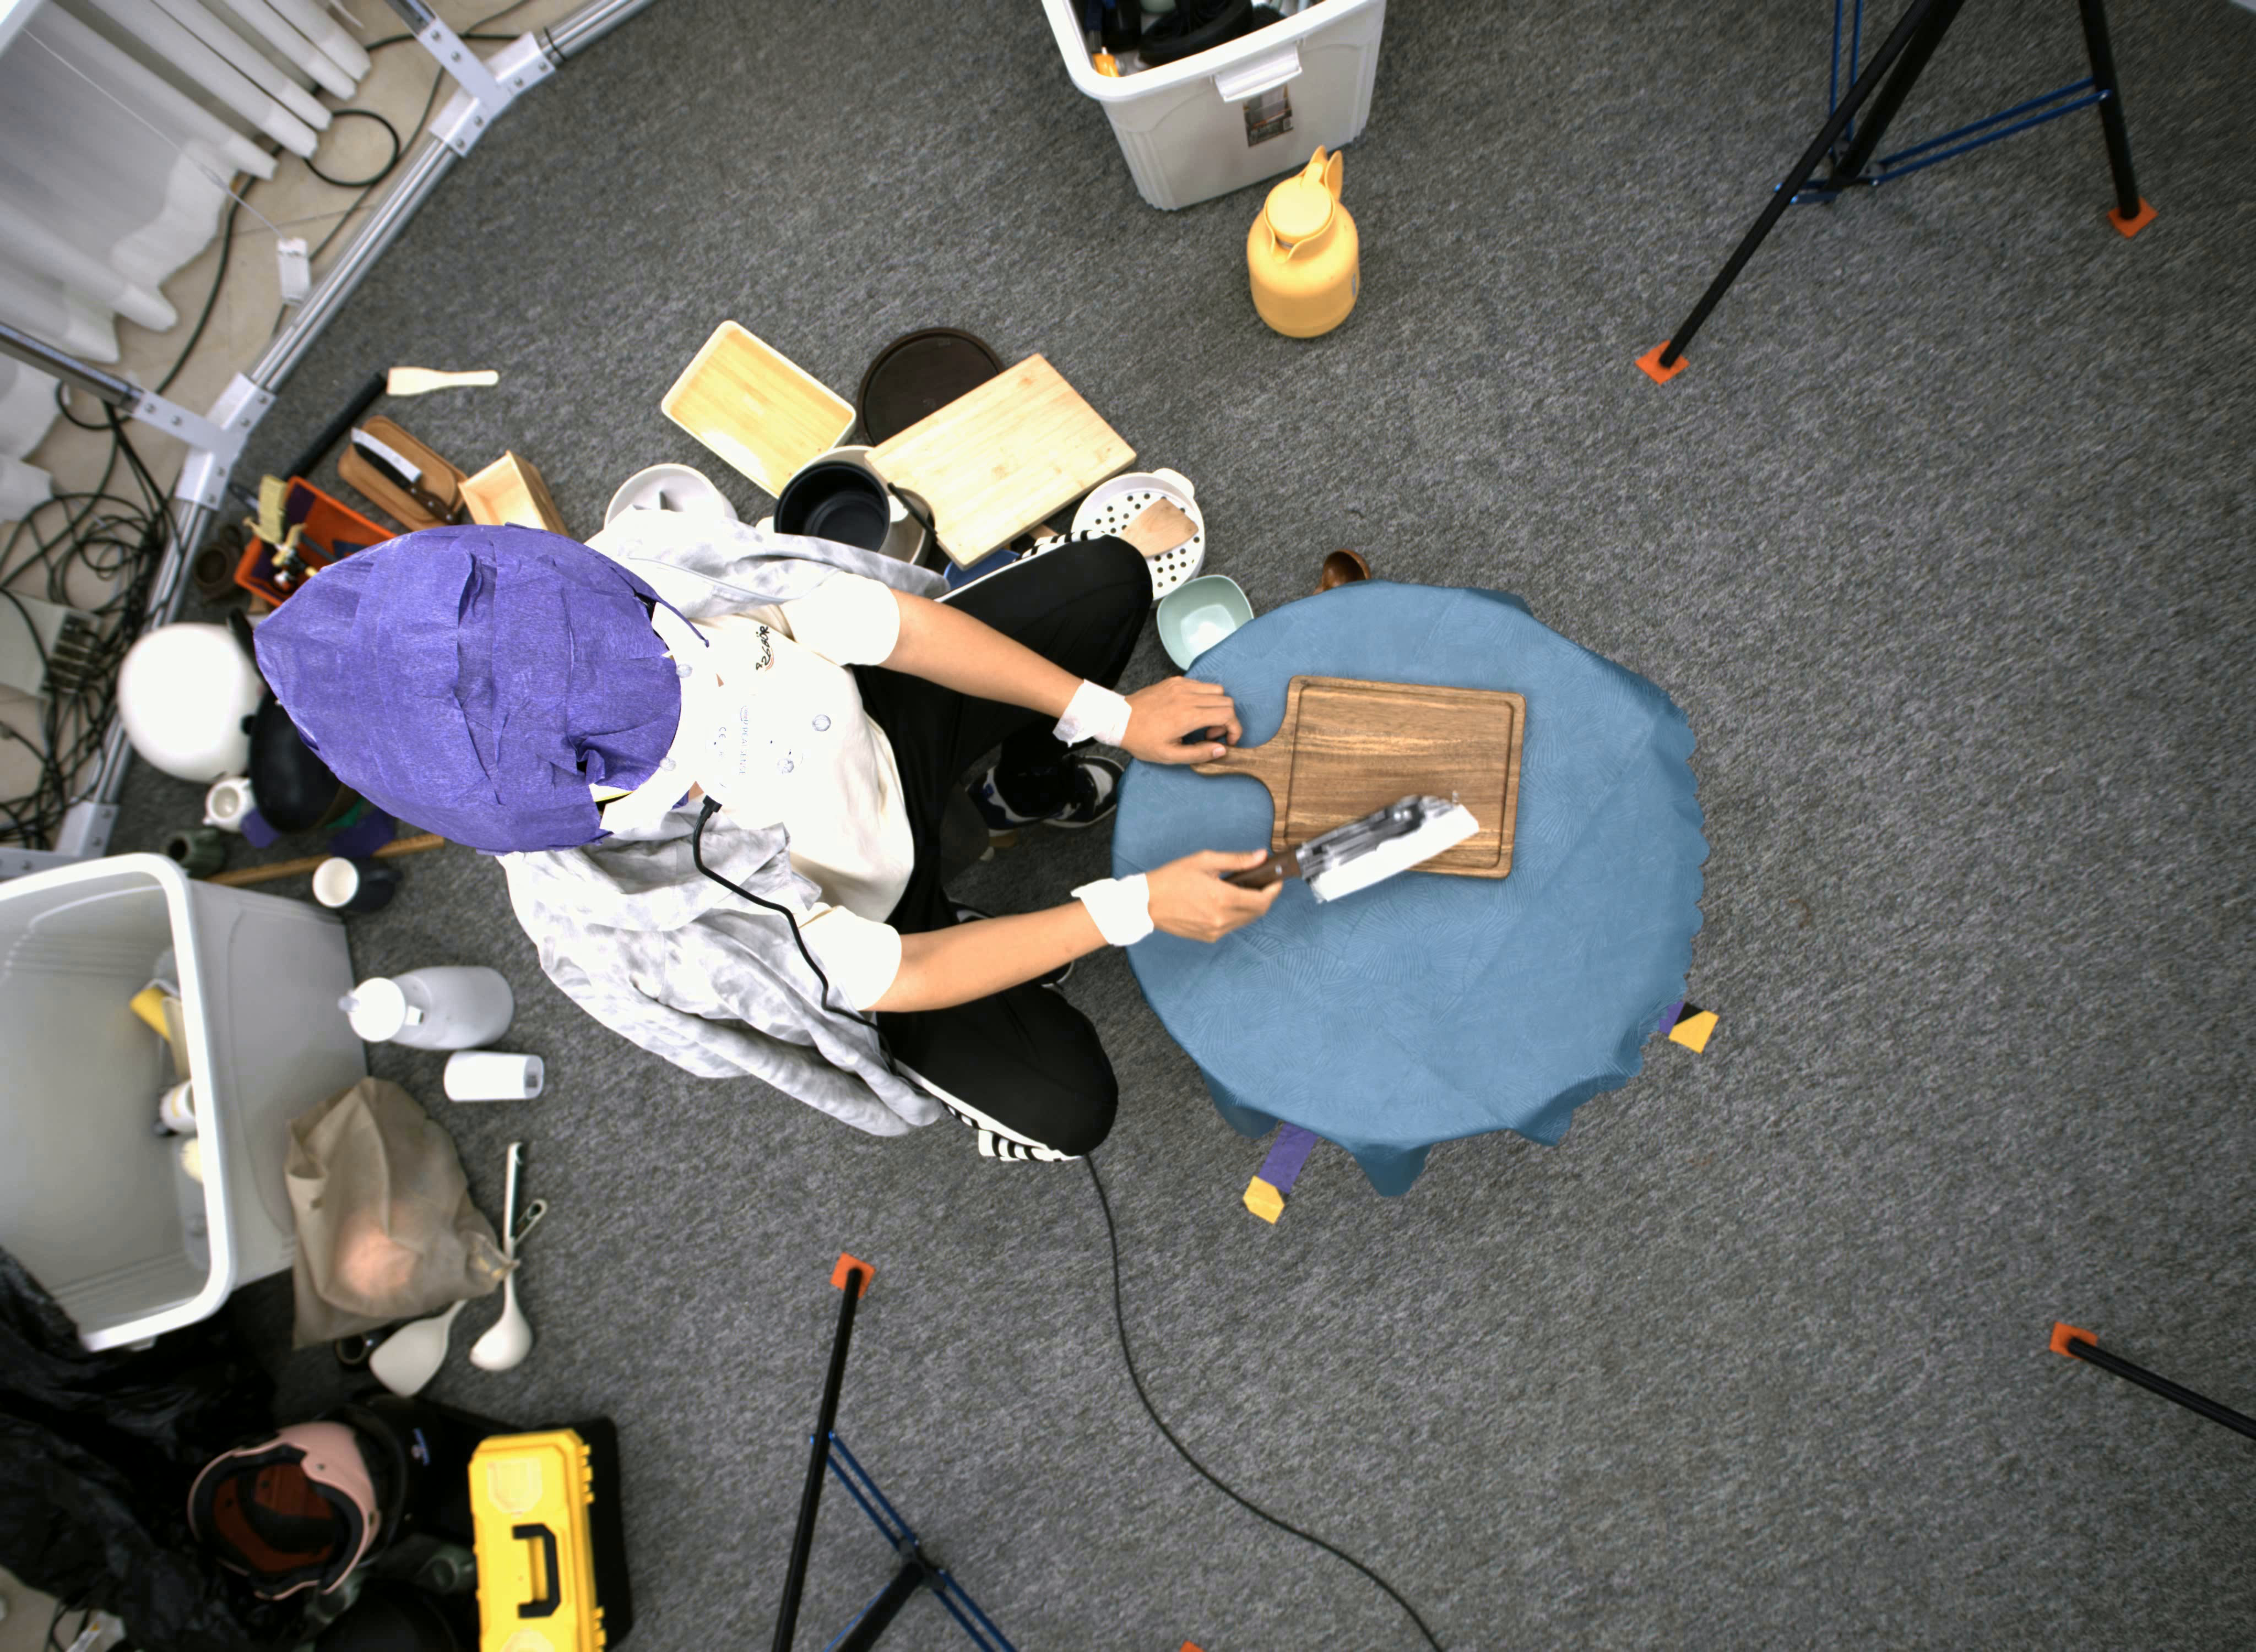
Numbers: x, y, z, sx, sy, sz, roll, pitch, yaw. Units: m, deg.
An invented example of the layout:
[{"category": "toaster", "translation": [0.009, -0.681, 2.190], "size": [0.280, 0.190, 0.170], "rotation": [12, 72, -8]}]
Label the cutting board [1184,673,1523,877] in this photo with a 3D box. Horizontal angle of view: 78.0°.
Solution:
[{"category": "cutting board", "translation": [0.234, -0.062, 1.462], "size": [0.353, 0.023, 0.200], "rotation": [6, 88, 11]}]

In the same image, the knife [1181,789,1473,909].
[{"category": "knife", "translation": [0.199, 0.031, 1.387], "size": [0.302, 0.023, 0.069], "rotation": [-24, 108, 13]}]
